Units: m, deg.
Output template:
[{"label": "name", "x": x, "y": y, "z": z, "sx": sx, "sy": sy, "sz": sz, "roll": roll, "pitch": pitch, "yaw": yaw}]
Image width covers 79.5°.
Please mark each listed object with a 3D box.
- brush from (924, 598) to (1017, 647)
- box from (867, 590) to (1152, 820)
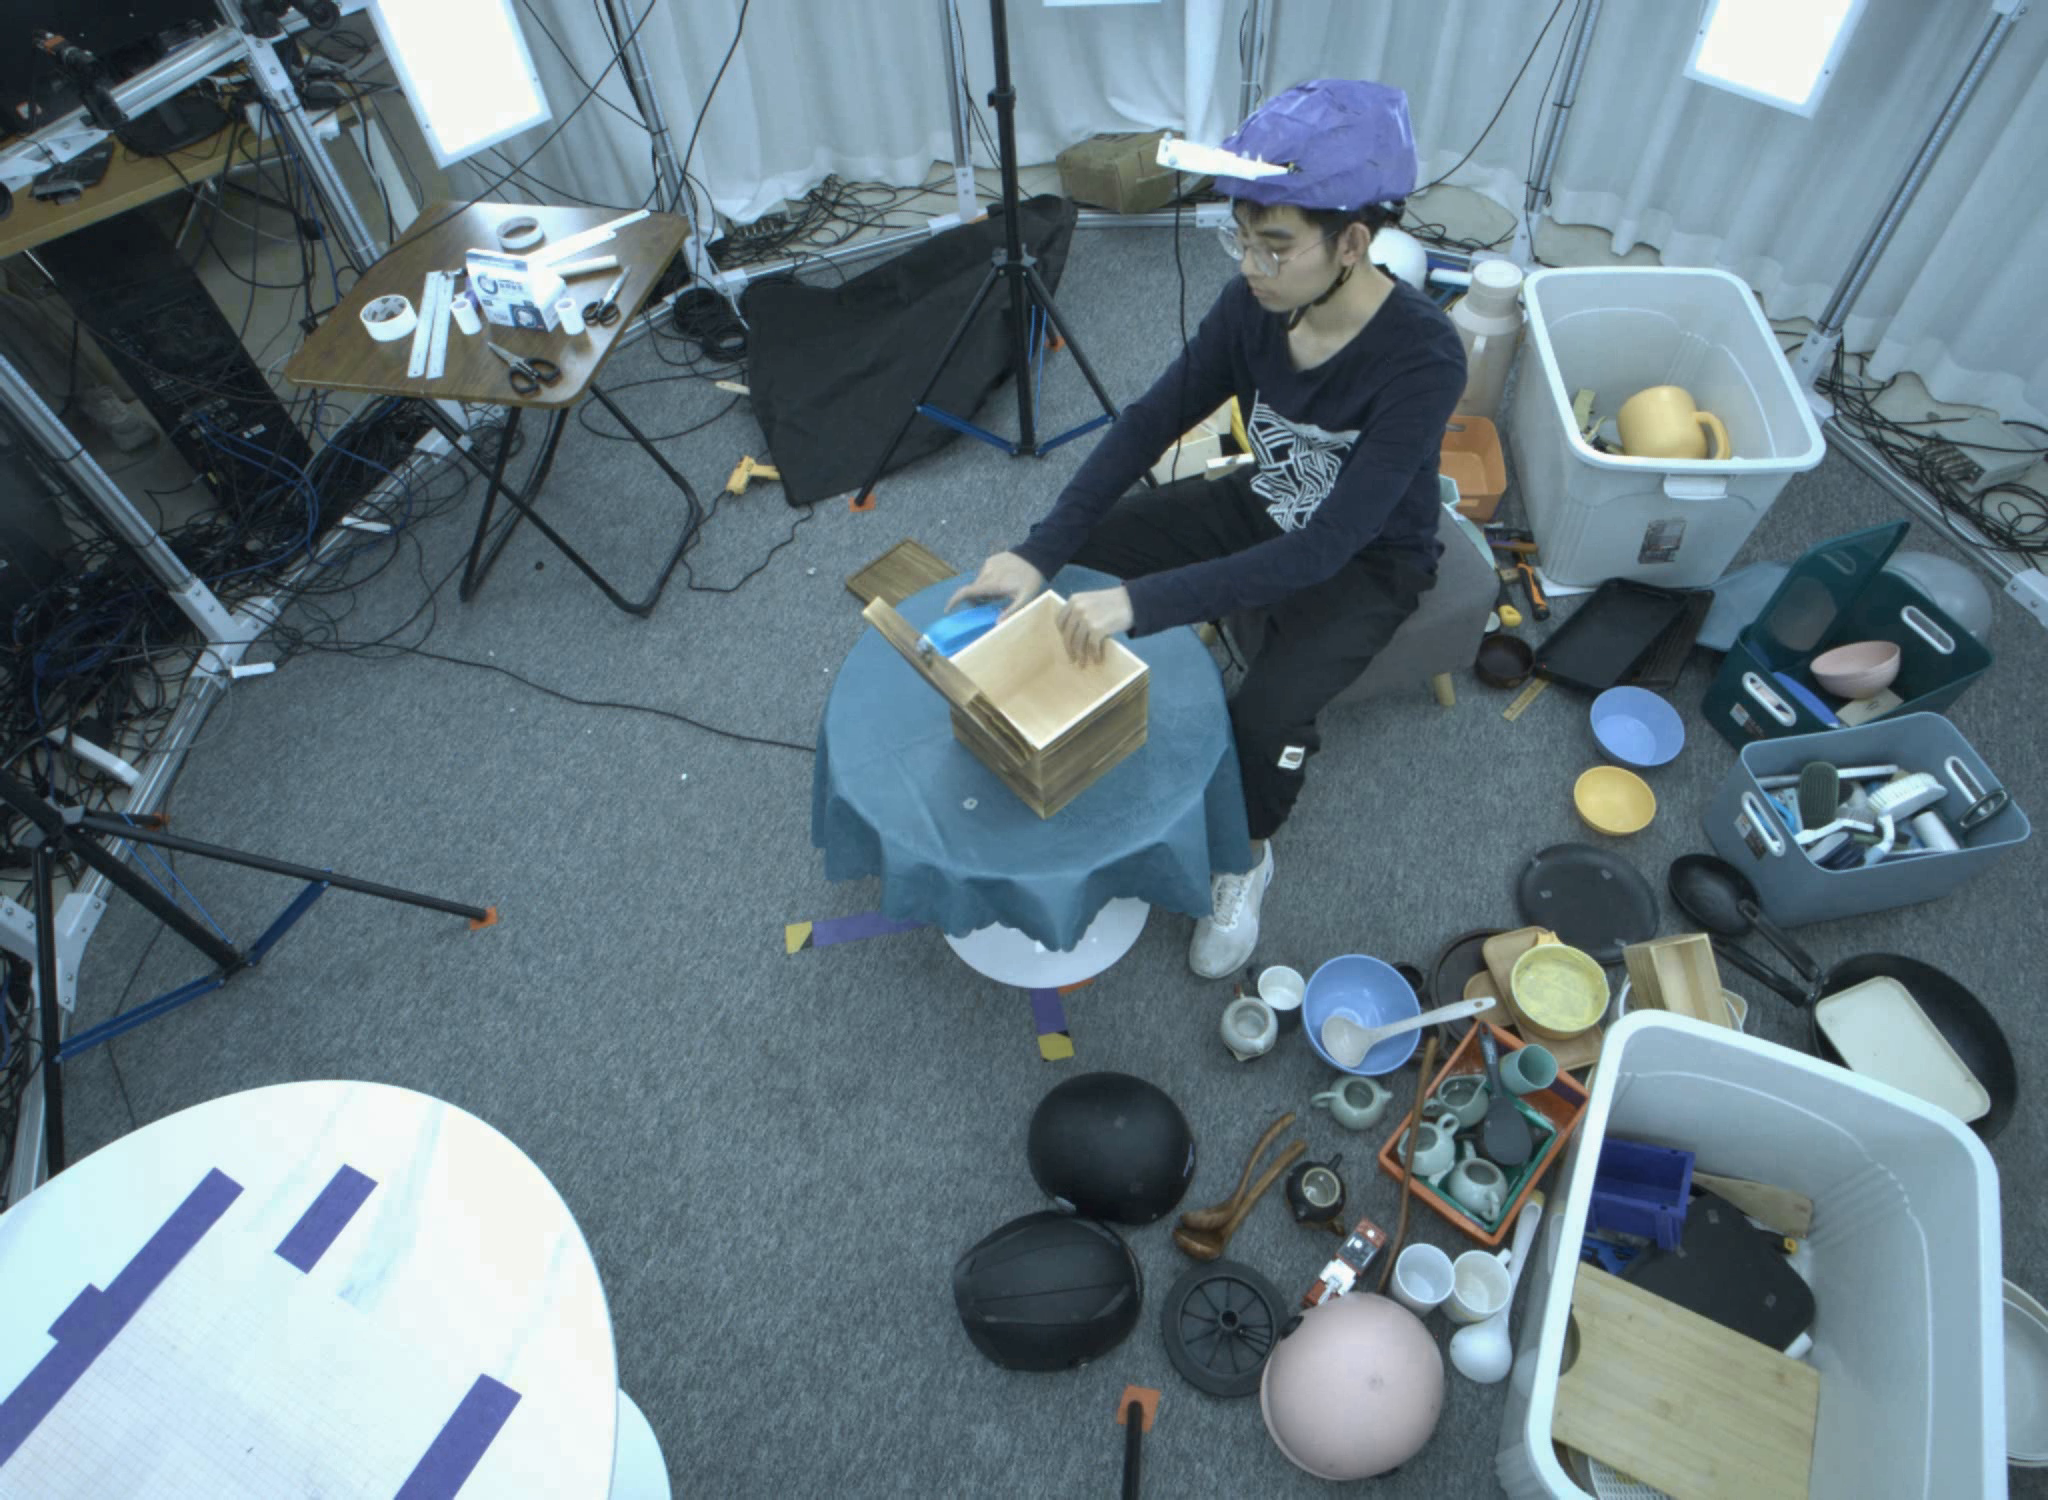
[{"label": "brush", "x": -0.080, "y": -0.191, "z": 1.882, "sx": 0.145, "sy": 0.056, "sz": 0.082, "roll": -22, "pitch": 59, "yaw": -11}, {"label": "box", "x": -0.009, "y": -0.092, "z": 1.622, "sx": 0.324, "sy": 0.379, "sz": 0.205, "roll": -37, "pitch": 60, "yaw": -22}]
